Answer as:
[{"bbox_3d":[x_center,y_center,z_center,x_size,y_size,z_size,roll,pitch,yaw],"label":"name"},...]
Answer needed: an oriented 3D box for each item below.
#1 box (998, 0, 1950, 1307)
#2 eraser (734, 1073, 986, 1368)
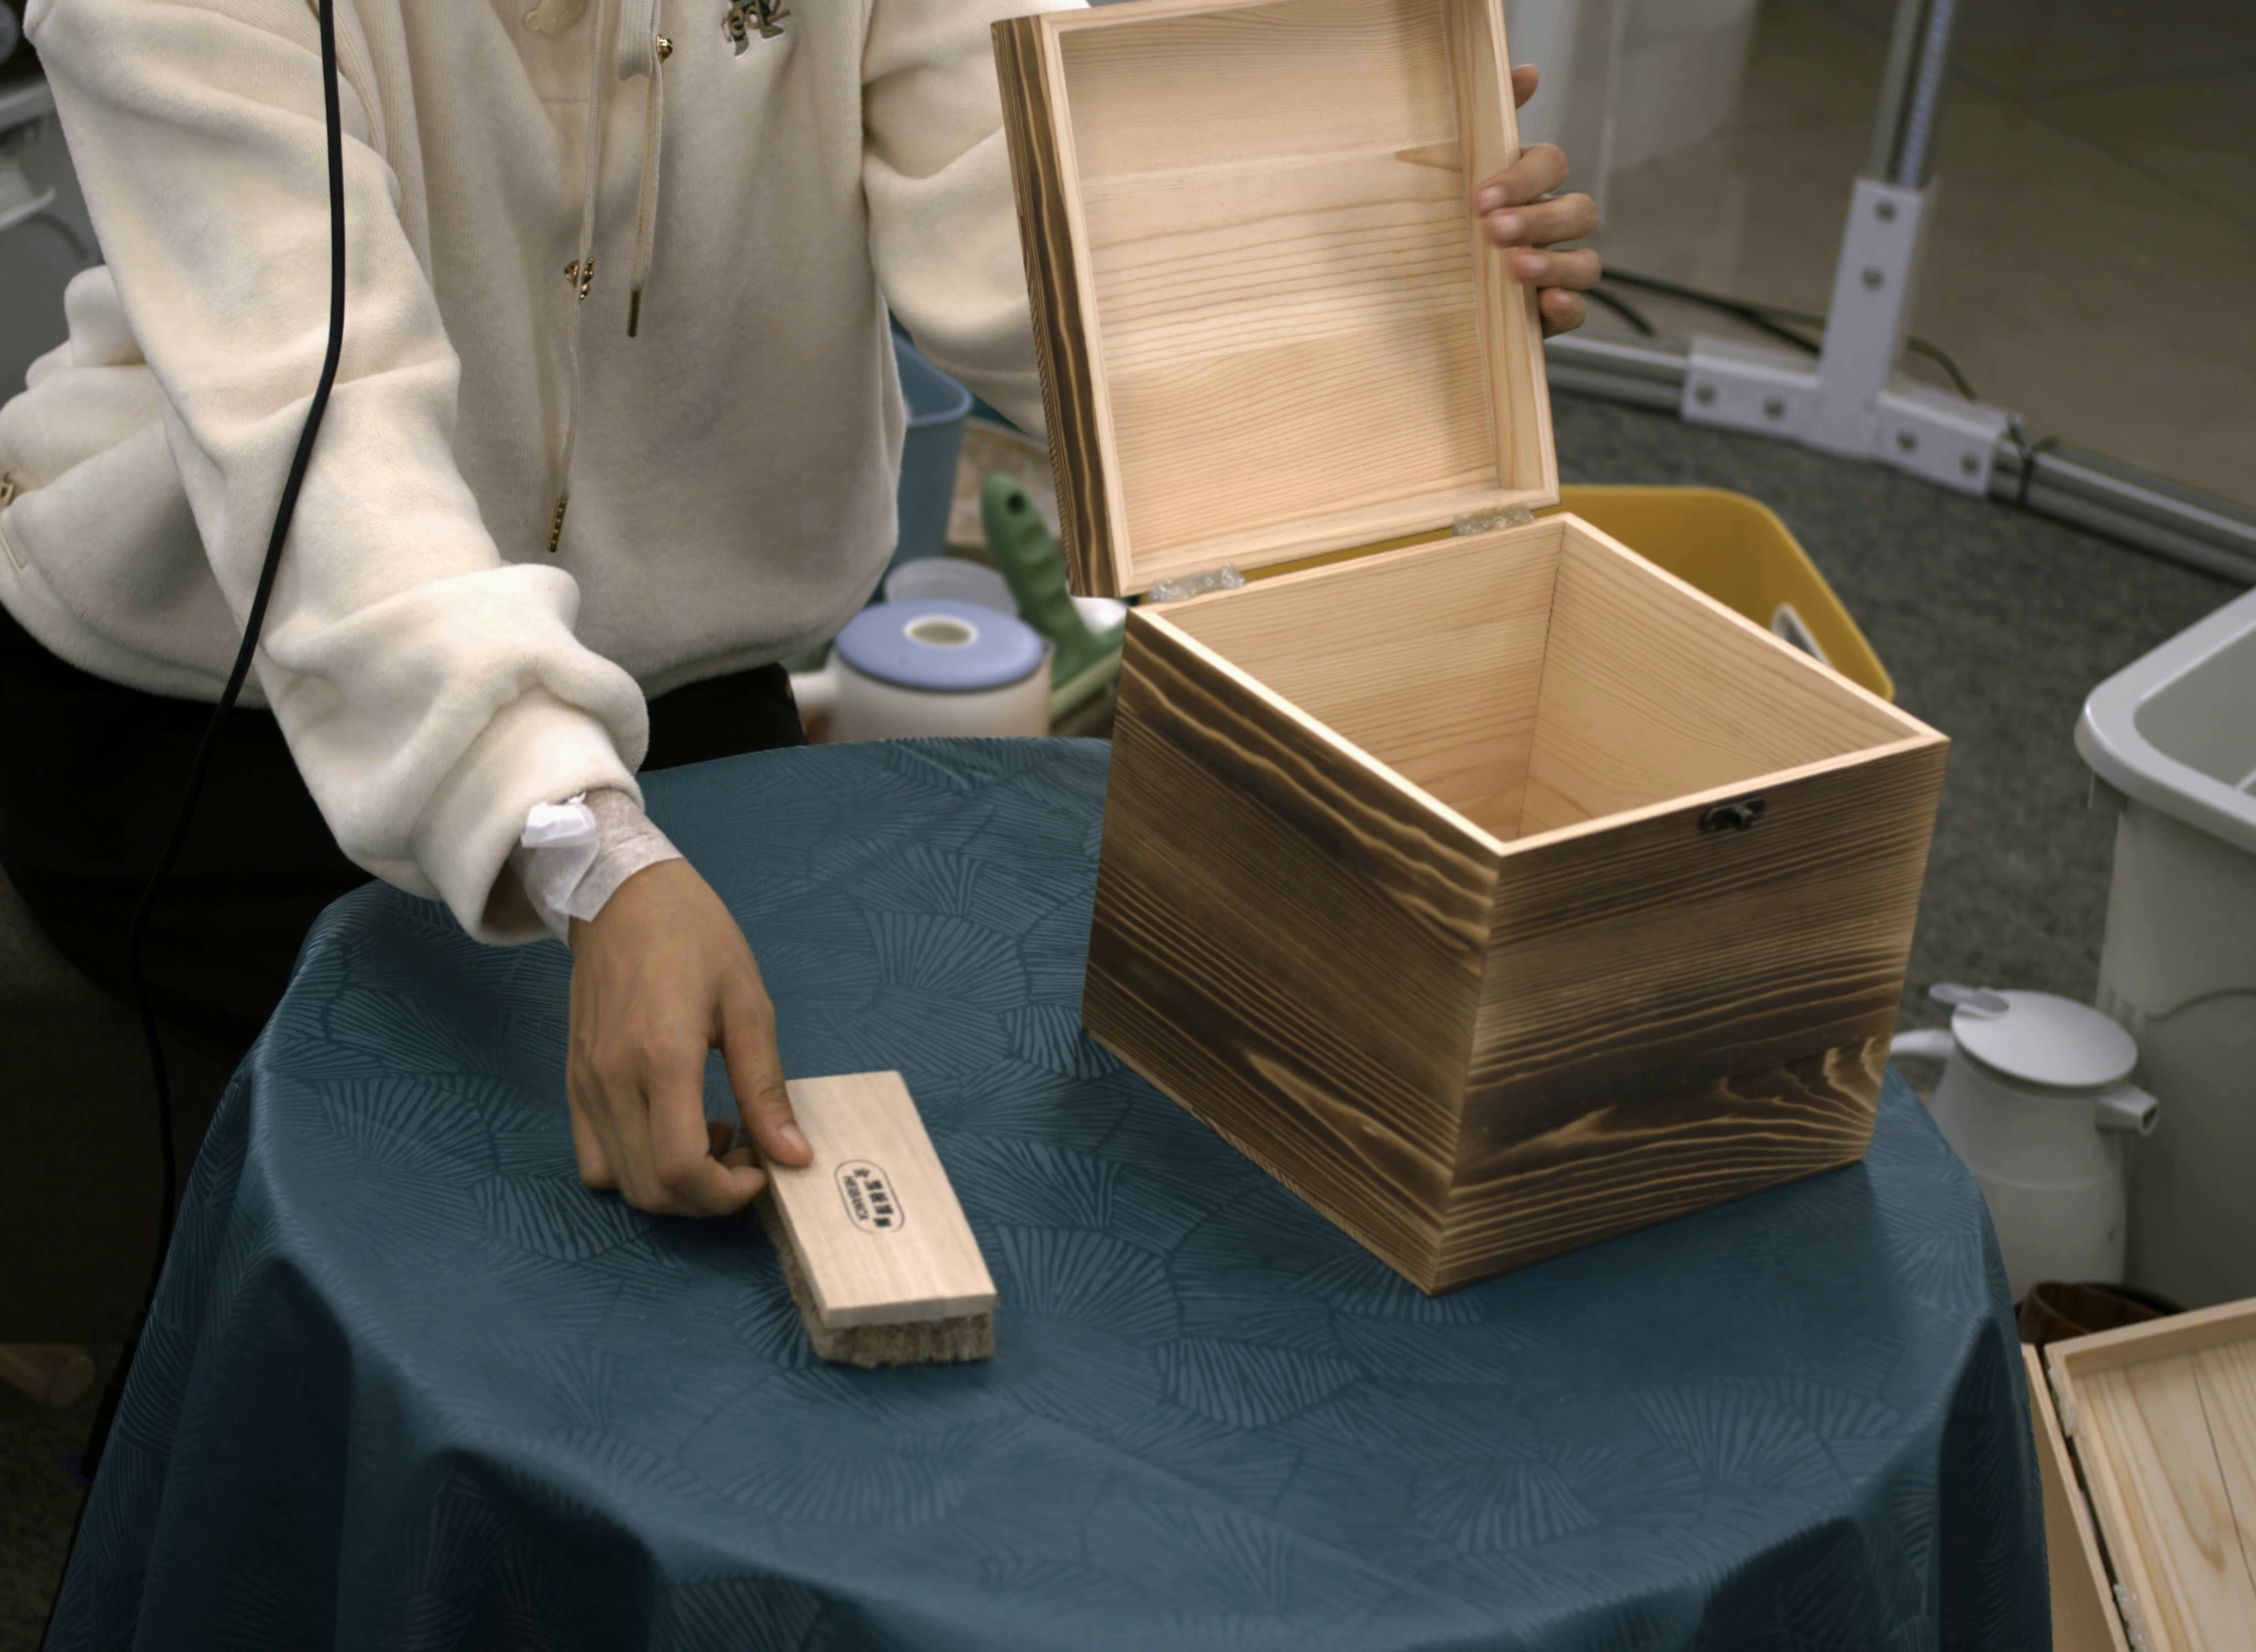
[{"bbox_3d":[0.108,-0.086,1.837,0.207,0.374,0.325,-14,34,-34],"label":"box"},{"bbox_3d":[-0.089,0.129,1.741,0.057,0.029,0.140,-5,28,-14],"label":"eraser"}]
